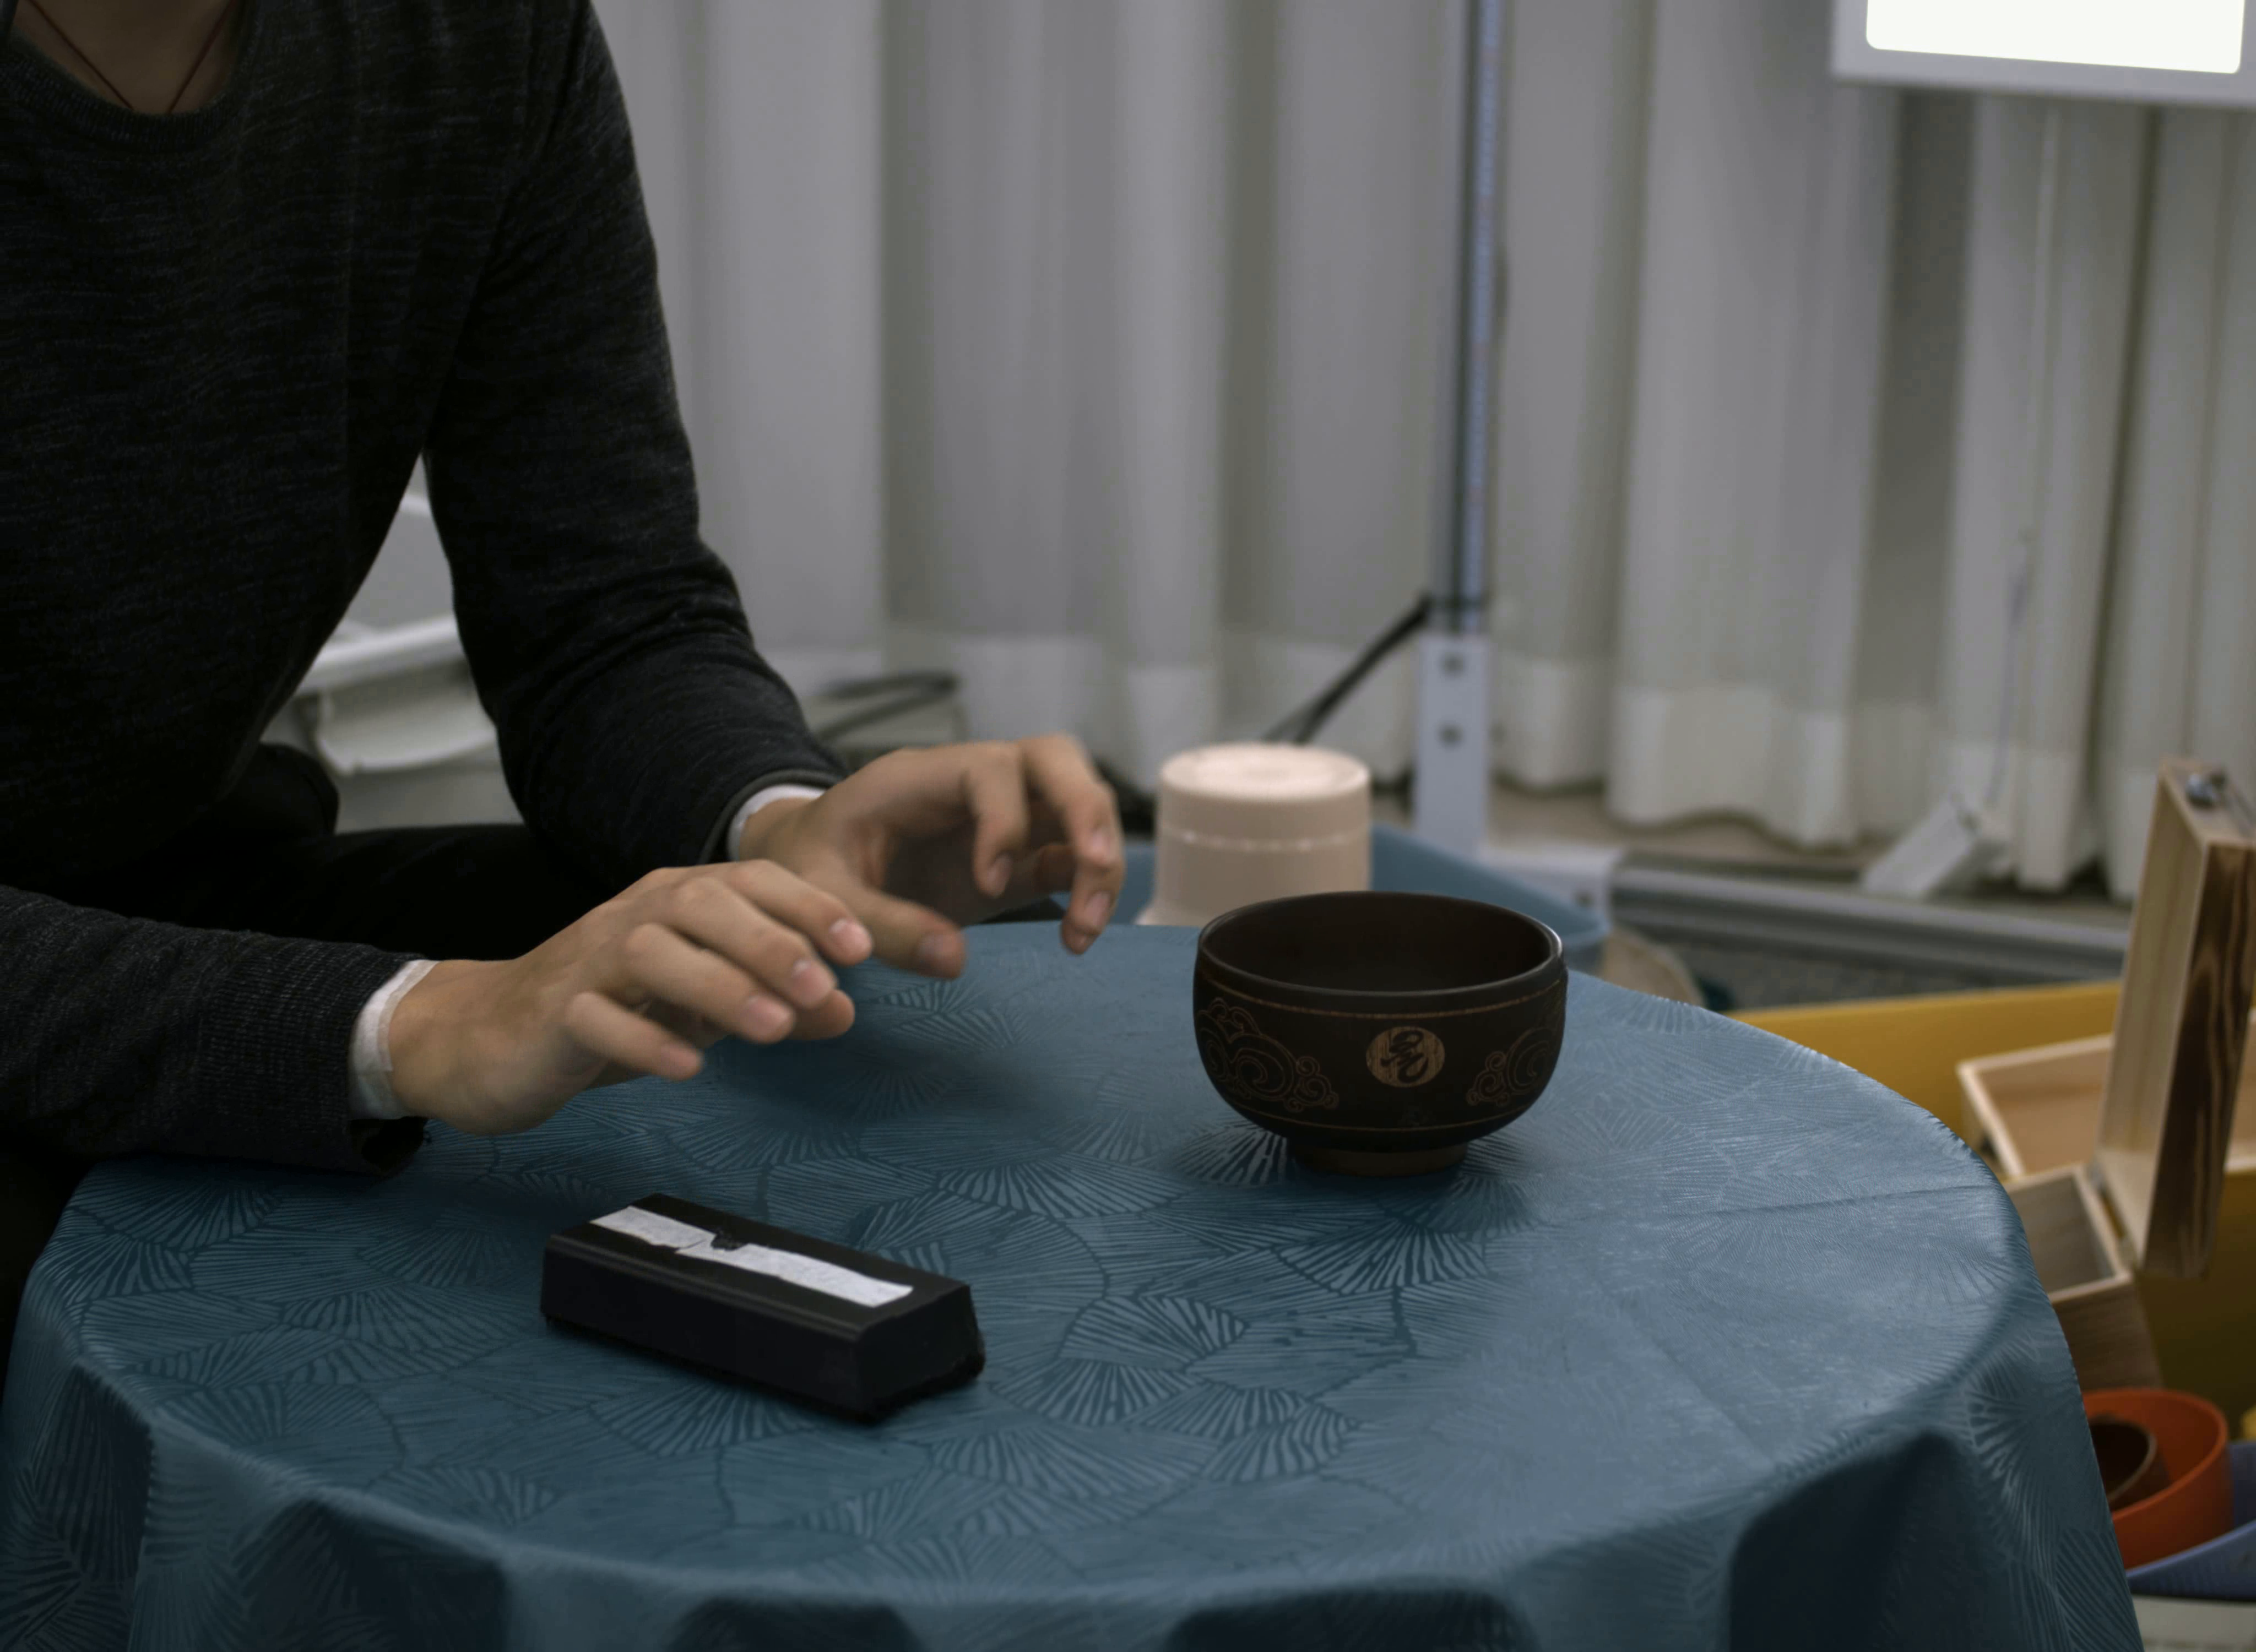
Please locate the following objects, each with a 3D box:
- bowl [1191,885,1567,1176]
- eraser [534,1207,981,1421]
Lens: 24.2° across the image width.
[{"bbox_3d":[0.079,0.068,1.651,0.117,0.070,0.117,0,18,1],"label":"bowl"},{"bbox_3d":[-0.104,0.136,1.479,0.124,0.030,0.054,11,16,35],"label":"eraser"}]
